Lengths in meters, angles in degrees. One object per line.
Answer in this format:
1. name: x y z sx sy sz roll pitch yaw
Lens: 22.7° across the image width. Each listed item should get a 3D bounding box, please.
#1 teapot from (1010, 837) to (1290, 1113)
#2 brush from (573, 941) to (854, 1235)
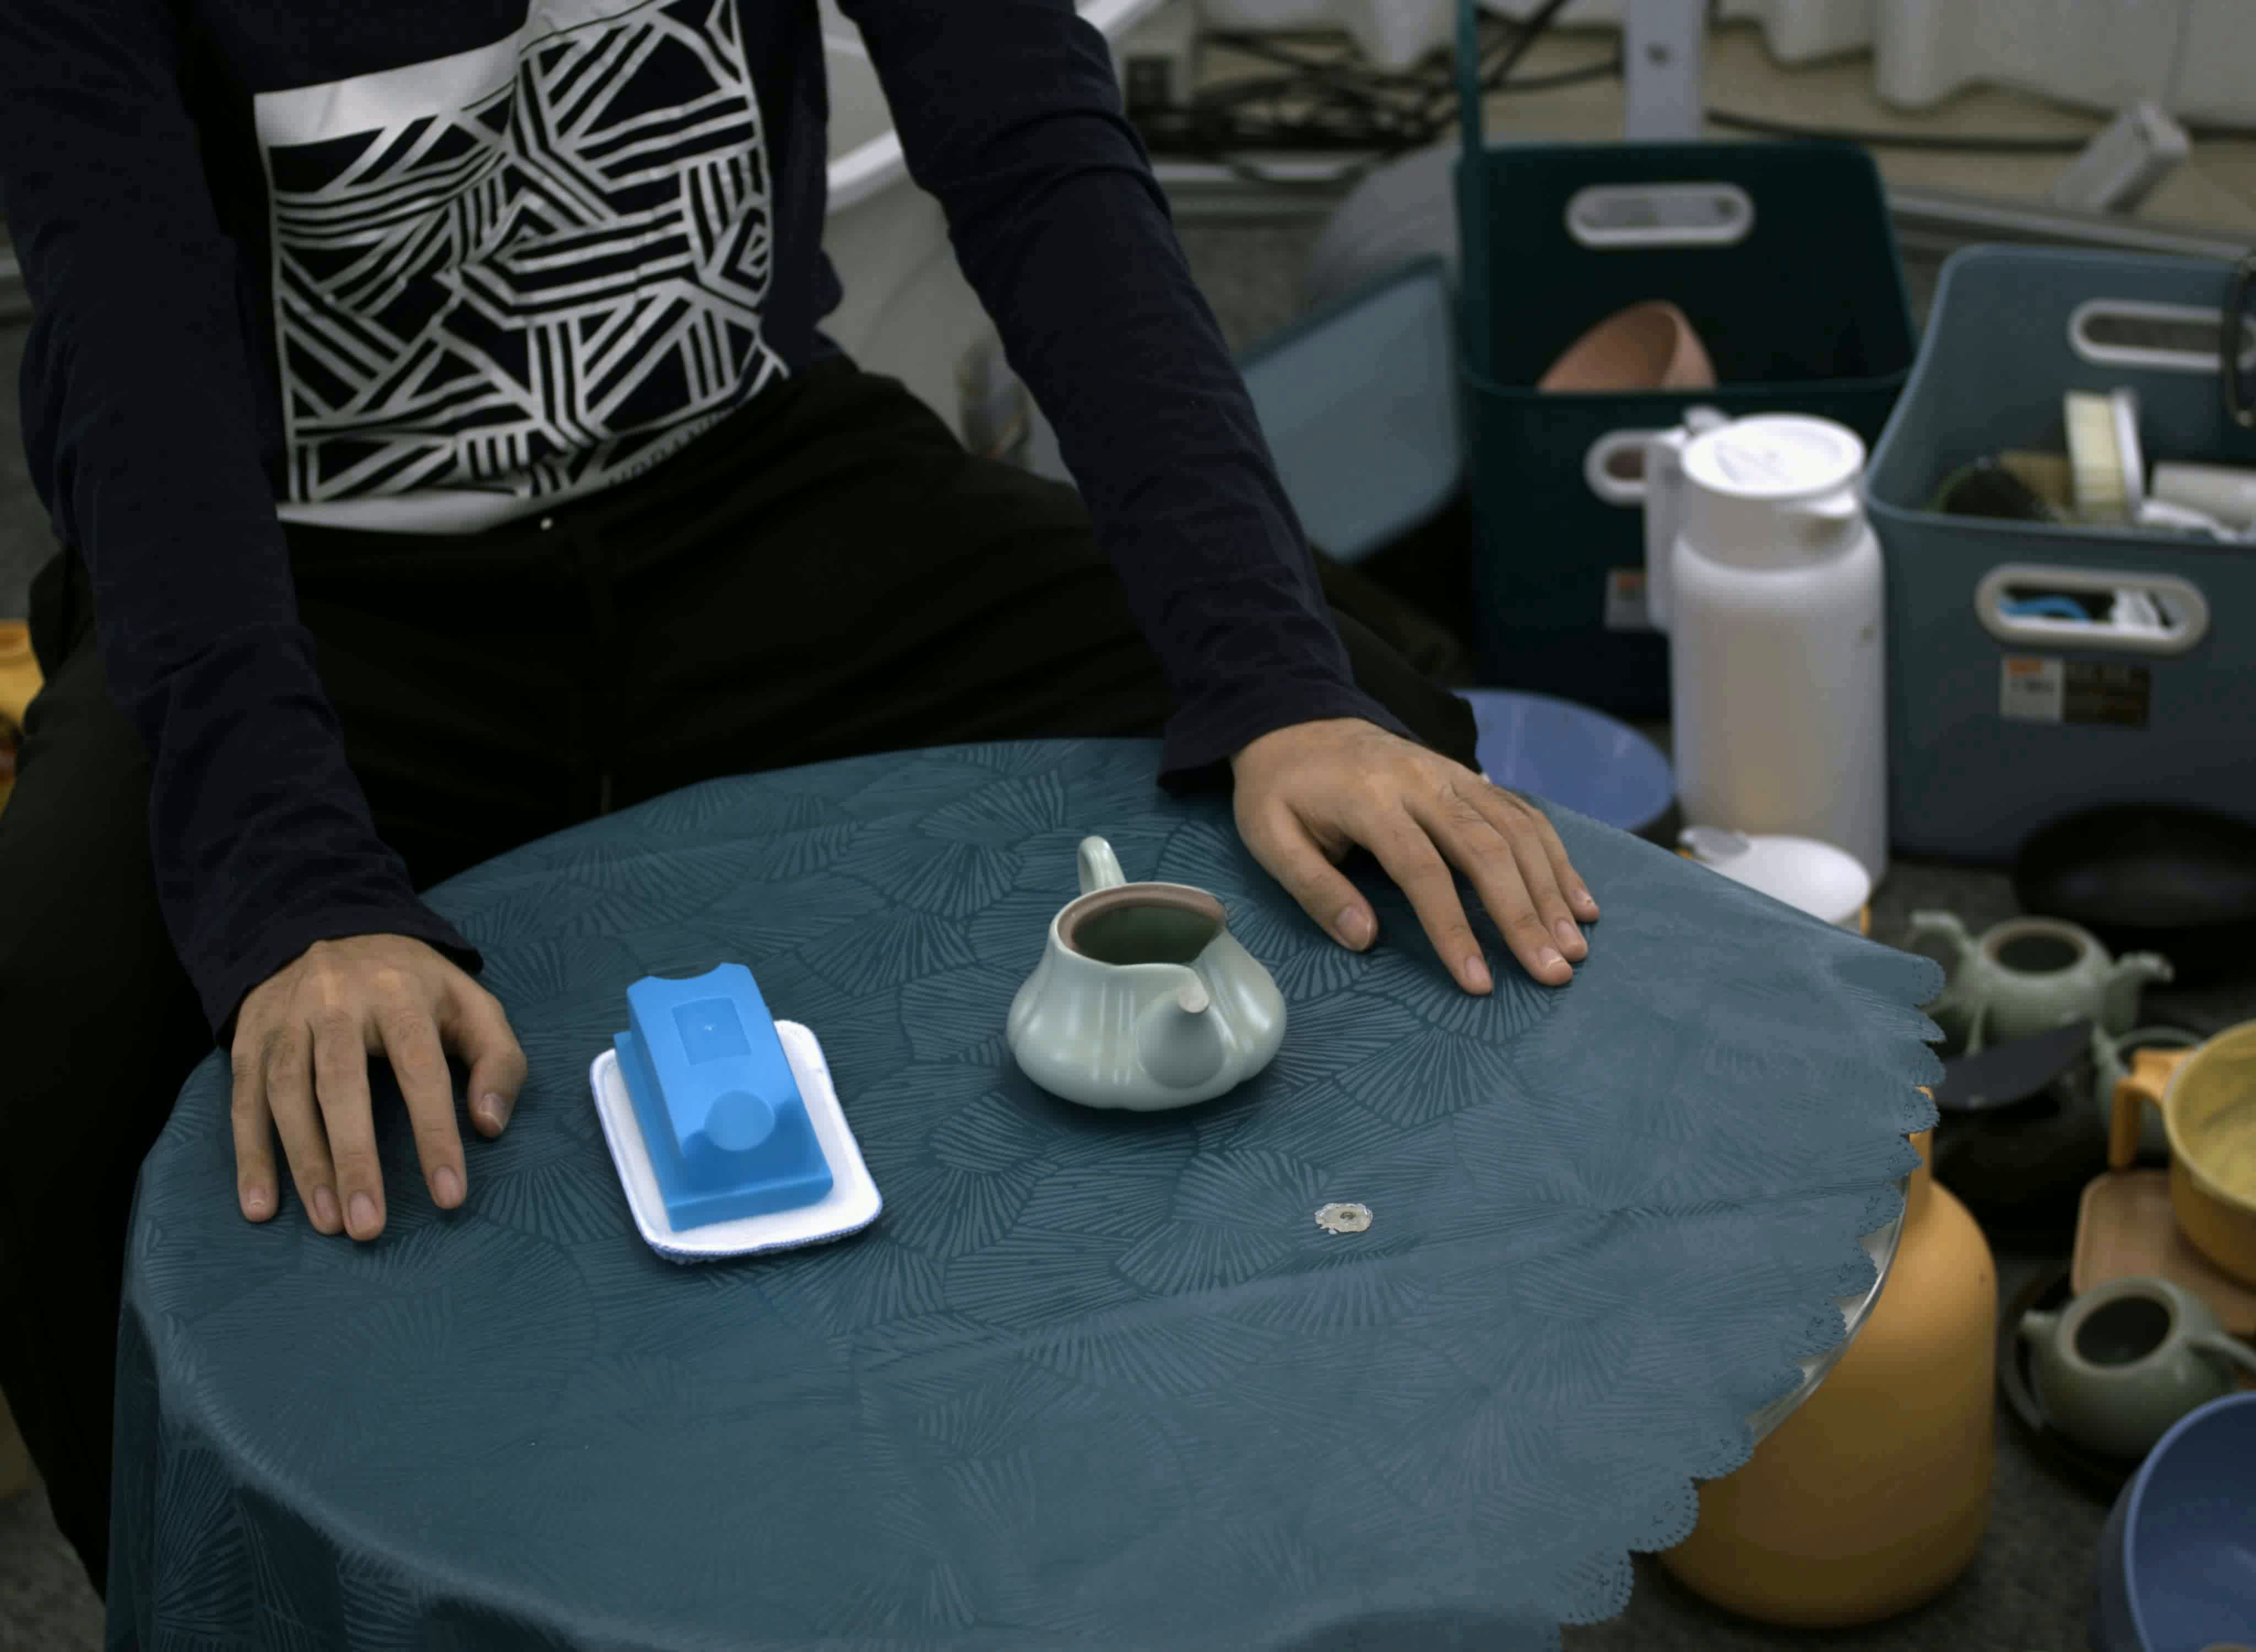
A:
1. teapot: 0.005 0.055 1.924 0.096 0.061 0.138 -13 29 -14
2. brush: -0.138 0.083 1.881 0.084 0.055 0.146 -5 30 -11
